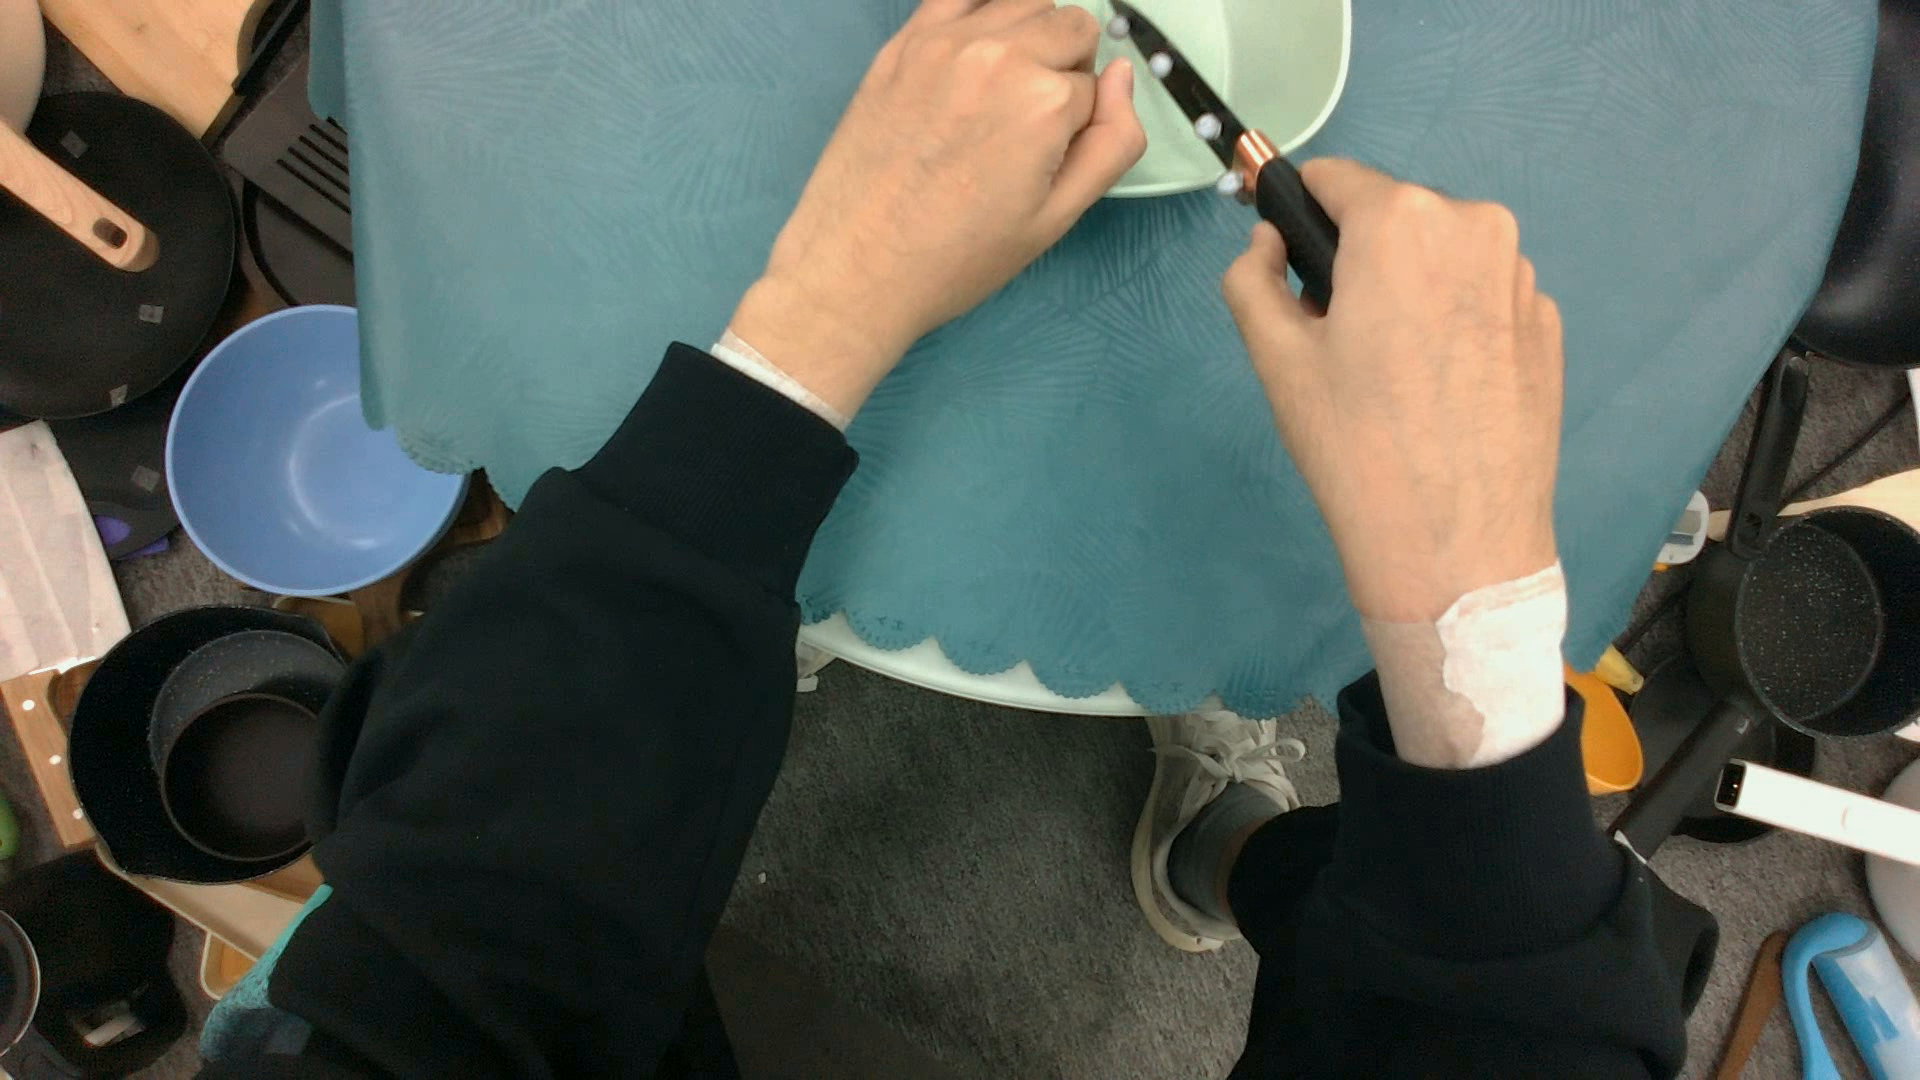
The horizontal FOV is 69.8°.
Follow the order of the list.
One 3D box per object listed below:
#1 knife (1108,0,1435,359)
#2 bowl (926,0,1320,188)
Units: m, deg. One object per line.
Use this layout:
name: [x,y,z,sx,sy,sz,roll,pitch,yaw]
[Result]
knife: [0.090,-0.136,0.454,0.017,0.026,0.226,-21,54,-7]
bowl: [0.054,-0.190,0.503,0.151,0.058,0.151,0,87,-6]
